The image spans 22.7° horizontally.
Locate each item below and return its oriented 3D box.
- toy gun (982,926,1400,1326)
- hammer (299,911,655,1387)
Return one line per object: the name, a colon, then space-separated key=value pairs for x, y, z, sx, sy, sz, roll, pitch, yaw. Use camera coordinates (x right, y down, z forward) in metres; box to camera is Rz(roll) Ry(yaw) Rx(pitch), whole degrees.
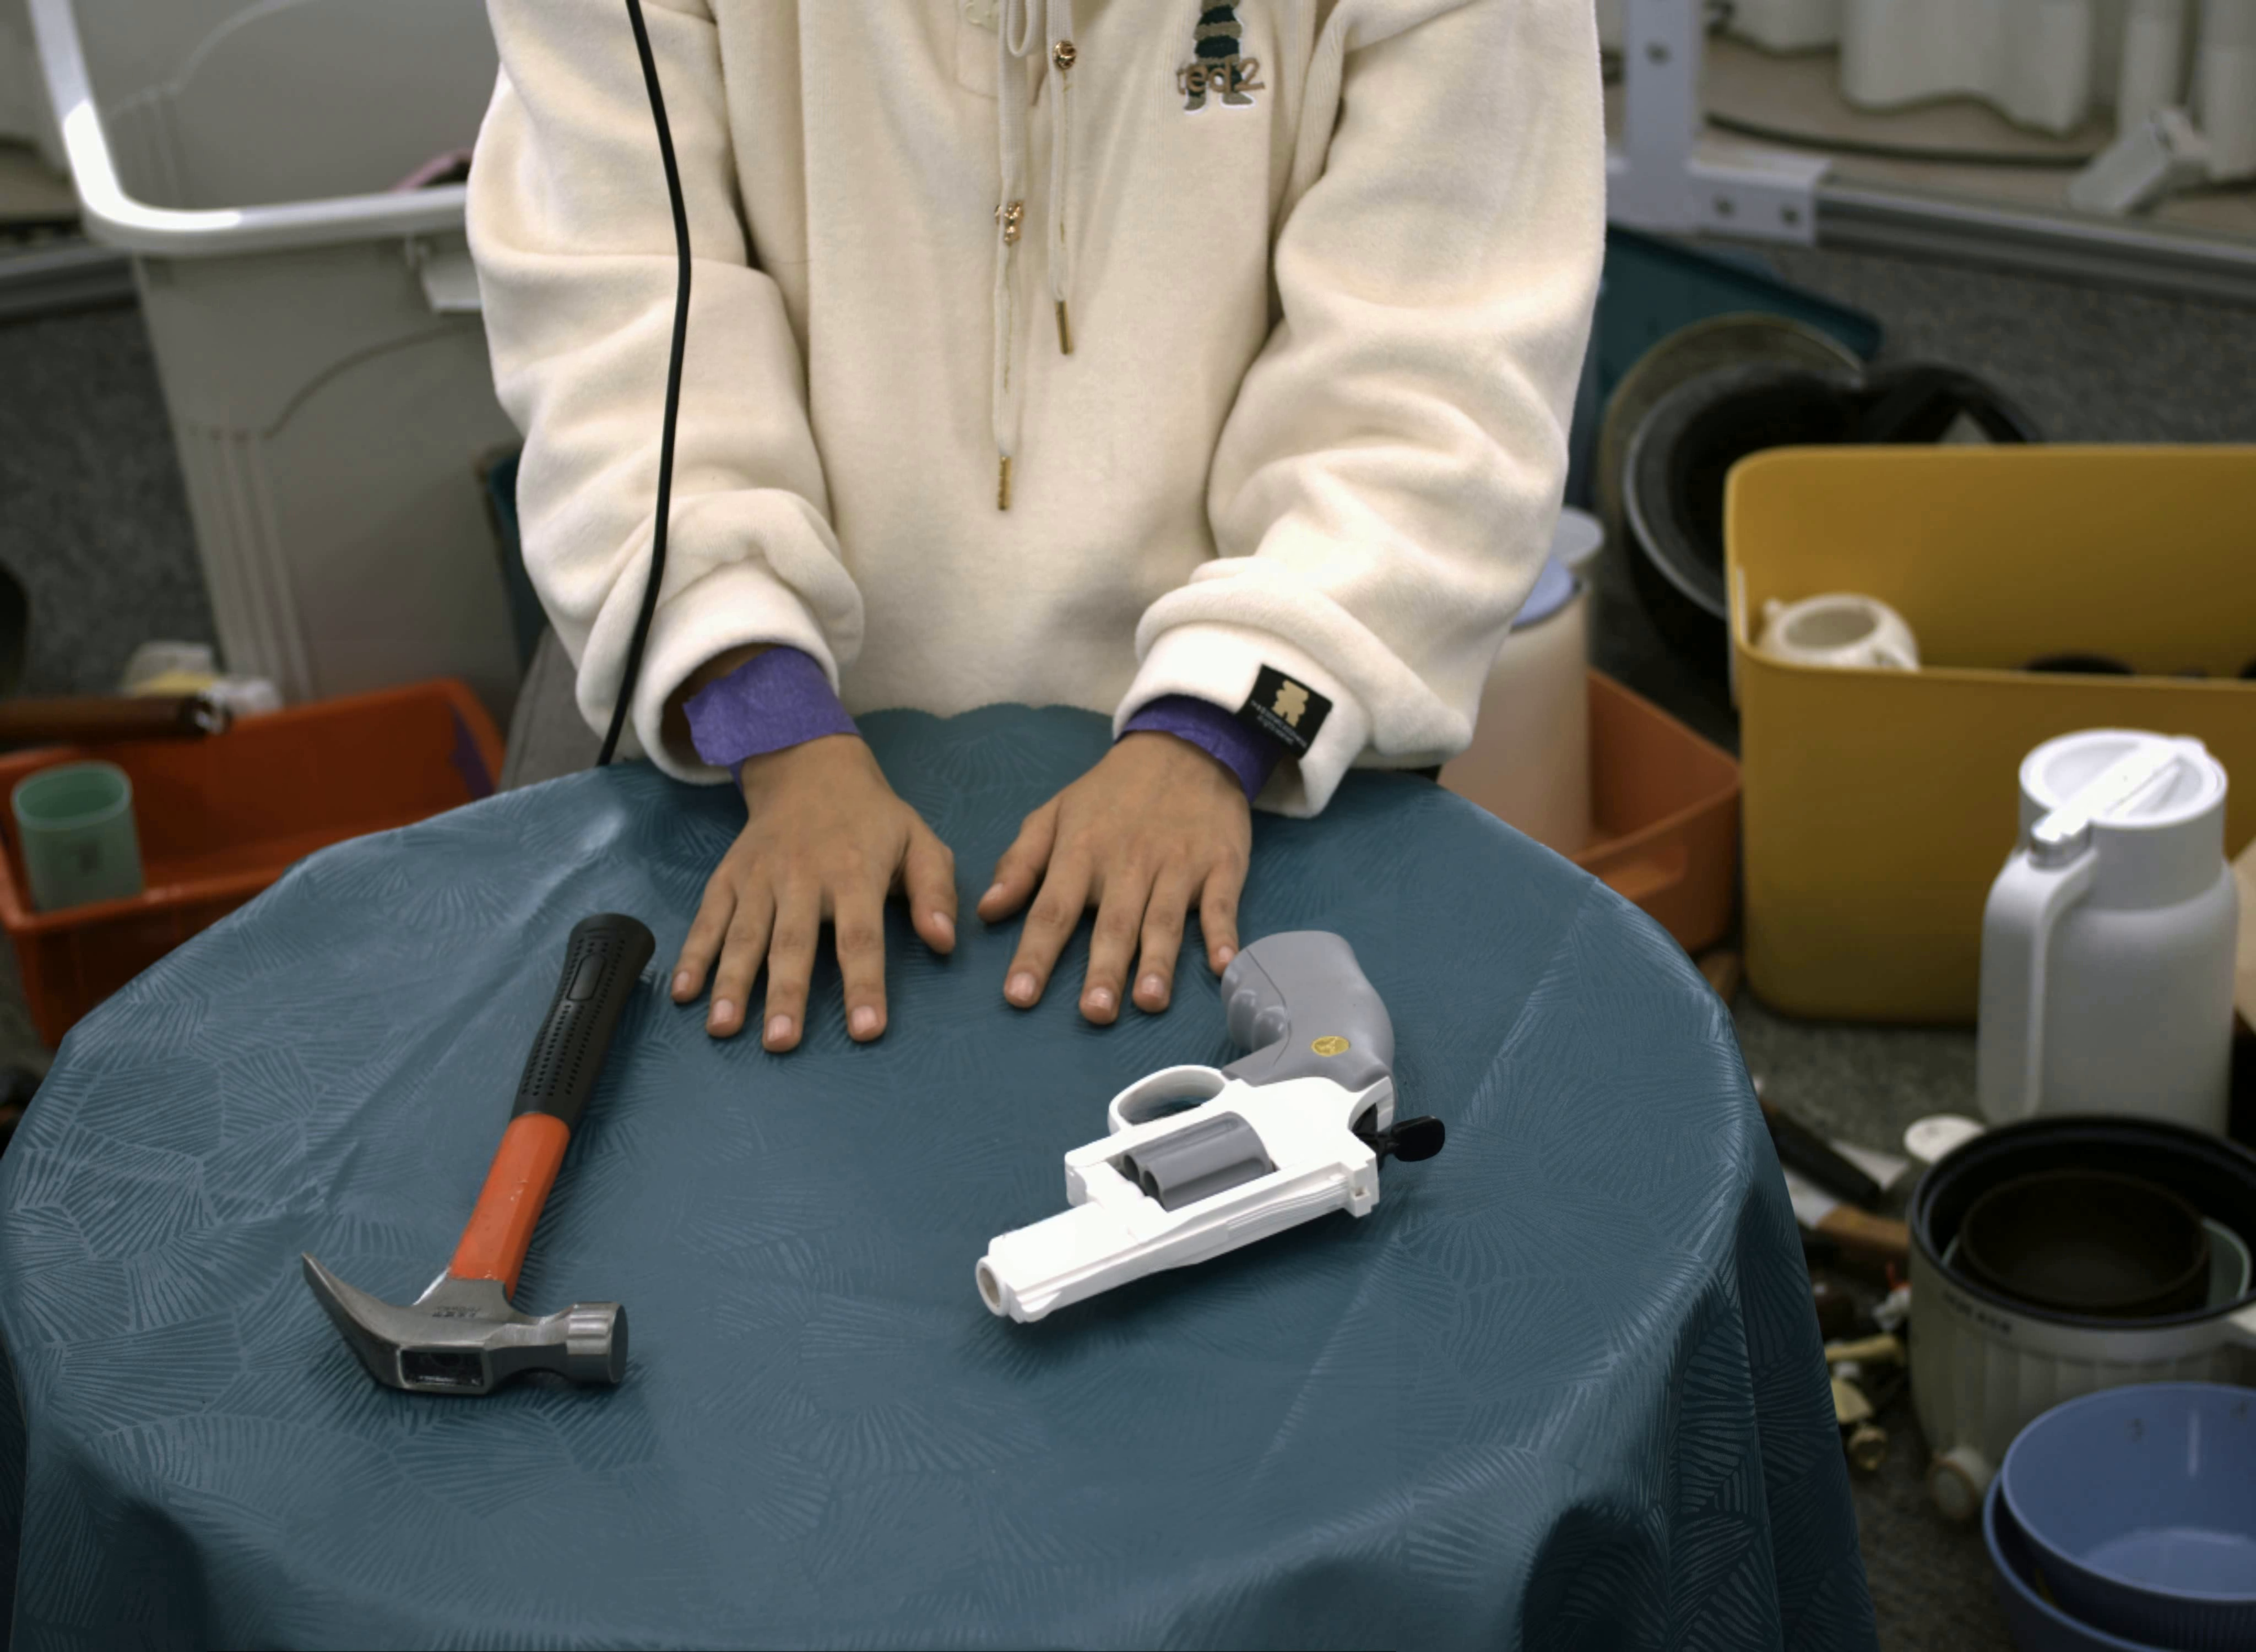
toy gun: x=0.020 y=0.099 z=1.860 sx=0.210 sy=0.038 sz=0.142 roll=-19 pitch=32 yaw=-28
hammer: x=-0.201 y=0.104 z=1.884 sx=0.110 sy=0.026 sz=0.282 roll=-7 pitch=26 yaw=11
